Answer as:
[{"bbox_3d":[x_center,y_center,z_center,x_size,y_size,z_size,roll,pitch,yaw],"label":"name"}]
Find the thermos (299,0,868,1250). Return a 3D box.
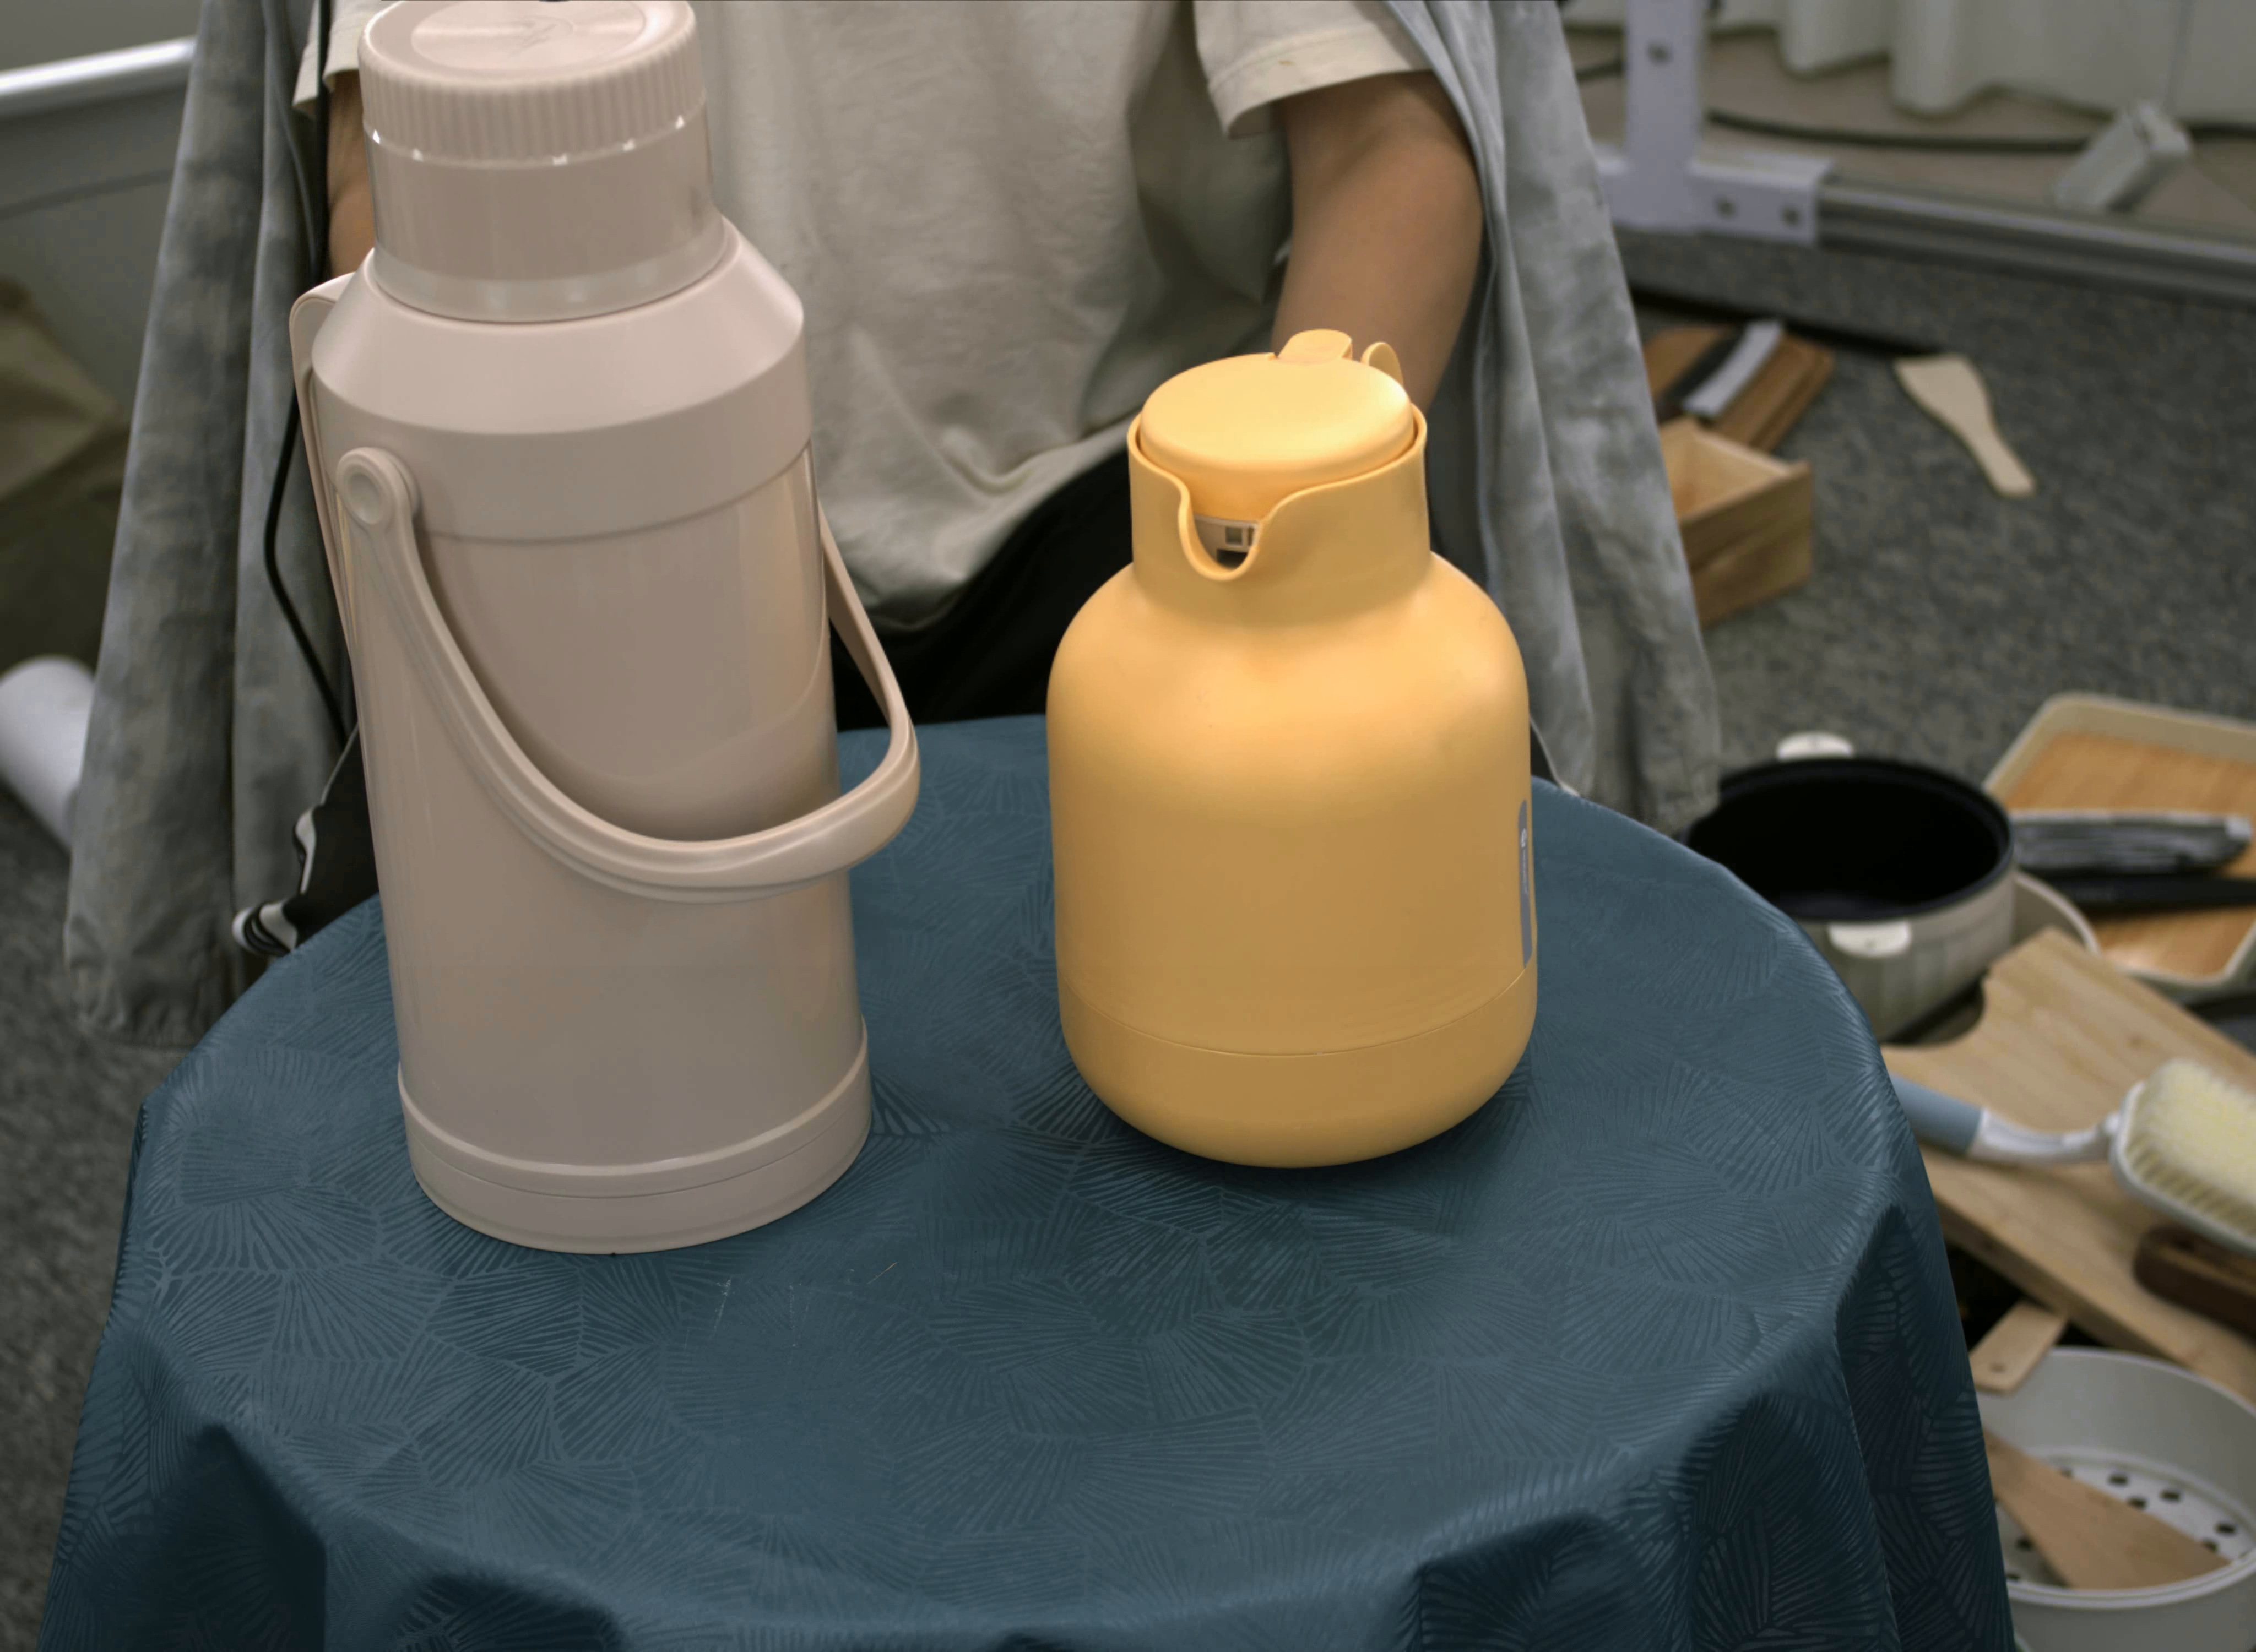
[{"bbox_3d":[-0.185,-0.076,1.834,0.206,0.402,0.178,19,34,36],"label":"thermos"}]

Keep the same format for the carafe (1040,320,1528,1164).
[{"bbox_3d":[0.058,-0.037,1.880,0.162,0.257,0.206,8,30,16],"label":"carafe"}]
